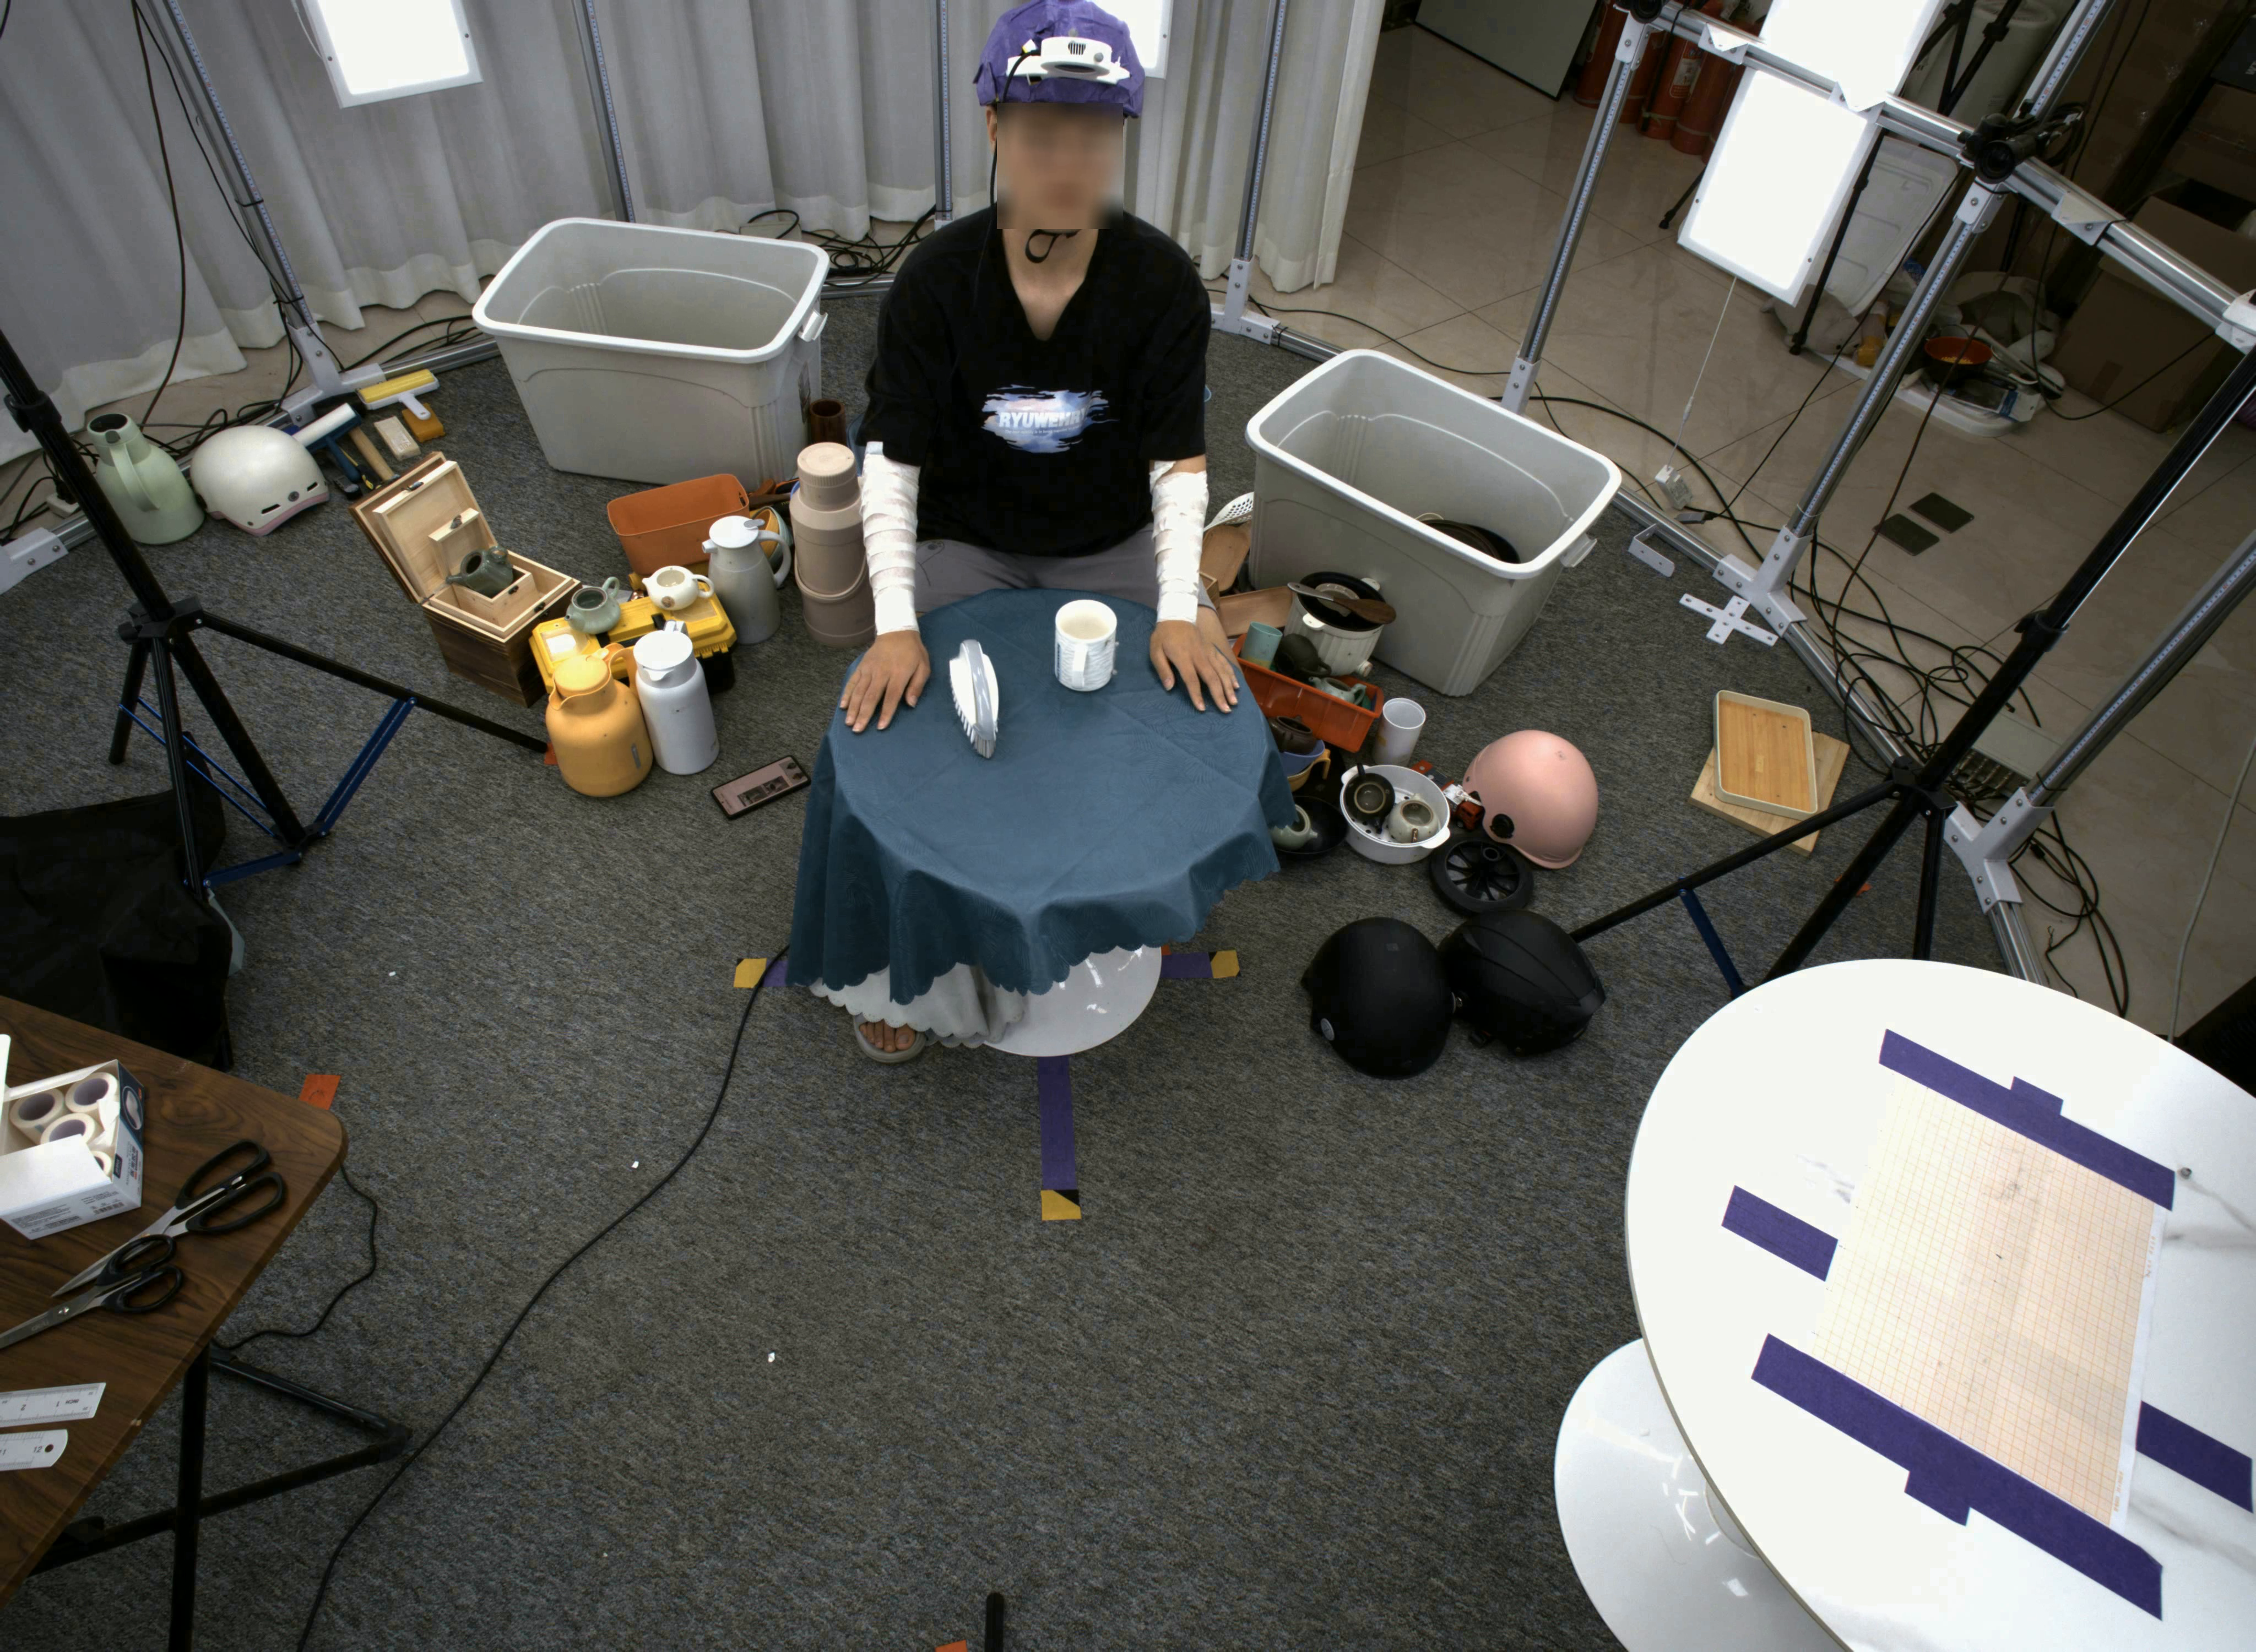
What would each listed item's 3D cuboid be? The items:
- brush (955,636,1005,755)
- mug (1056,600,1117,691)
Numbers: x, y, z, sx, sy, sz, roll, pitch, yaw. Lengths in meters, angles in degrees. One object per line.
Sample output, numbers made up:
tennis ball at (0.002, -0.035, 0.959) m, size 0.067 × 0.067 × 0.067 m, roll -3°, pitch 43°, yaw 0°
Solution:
brush at (-0.202, -0.188, 1.764) m, size 0.061 × 0.092 × 0.180 m, roll -10°, pitch 53°, yaw -6°
mug at (-0.062, -0.242, 1.812) m, size 0.085 × 0.099 × 0.121 m, roll 6°, pitch 50°, yaw 1°
